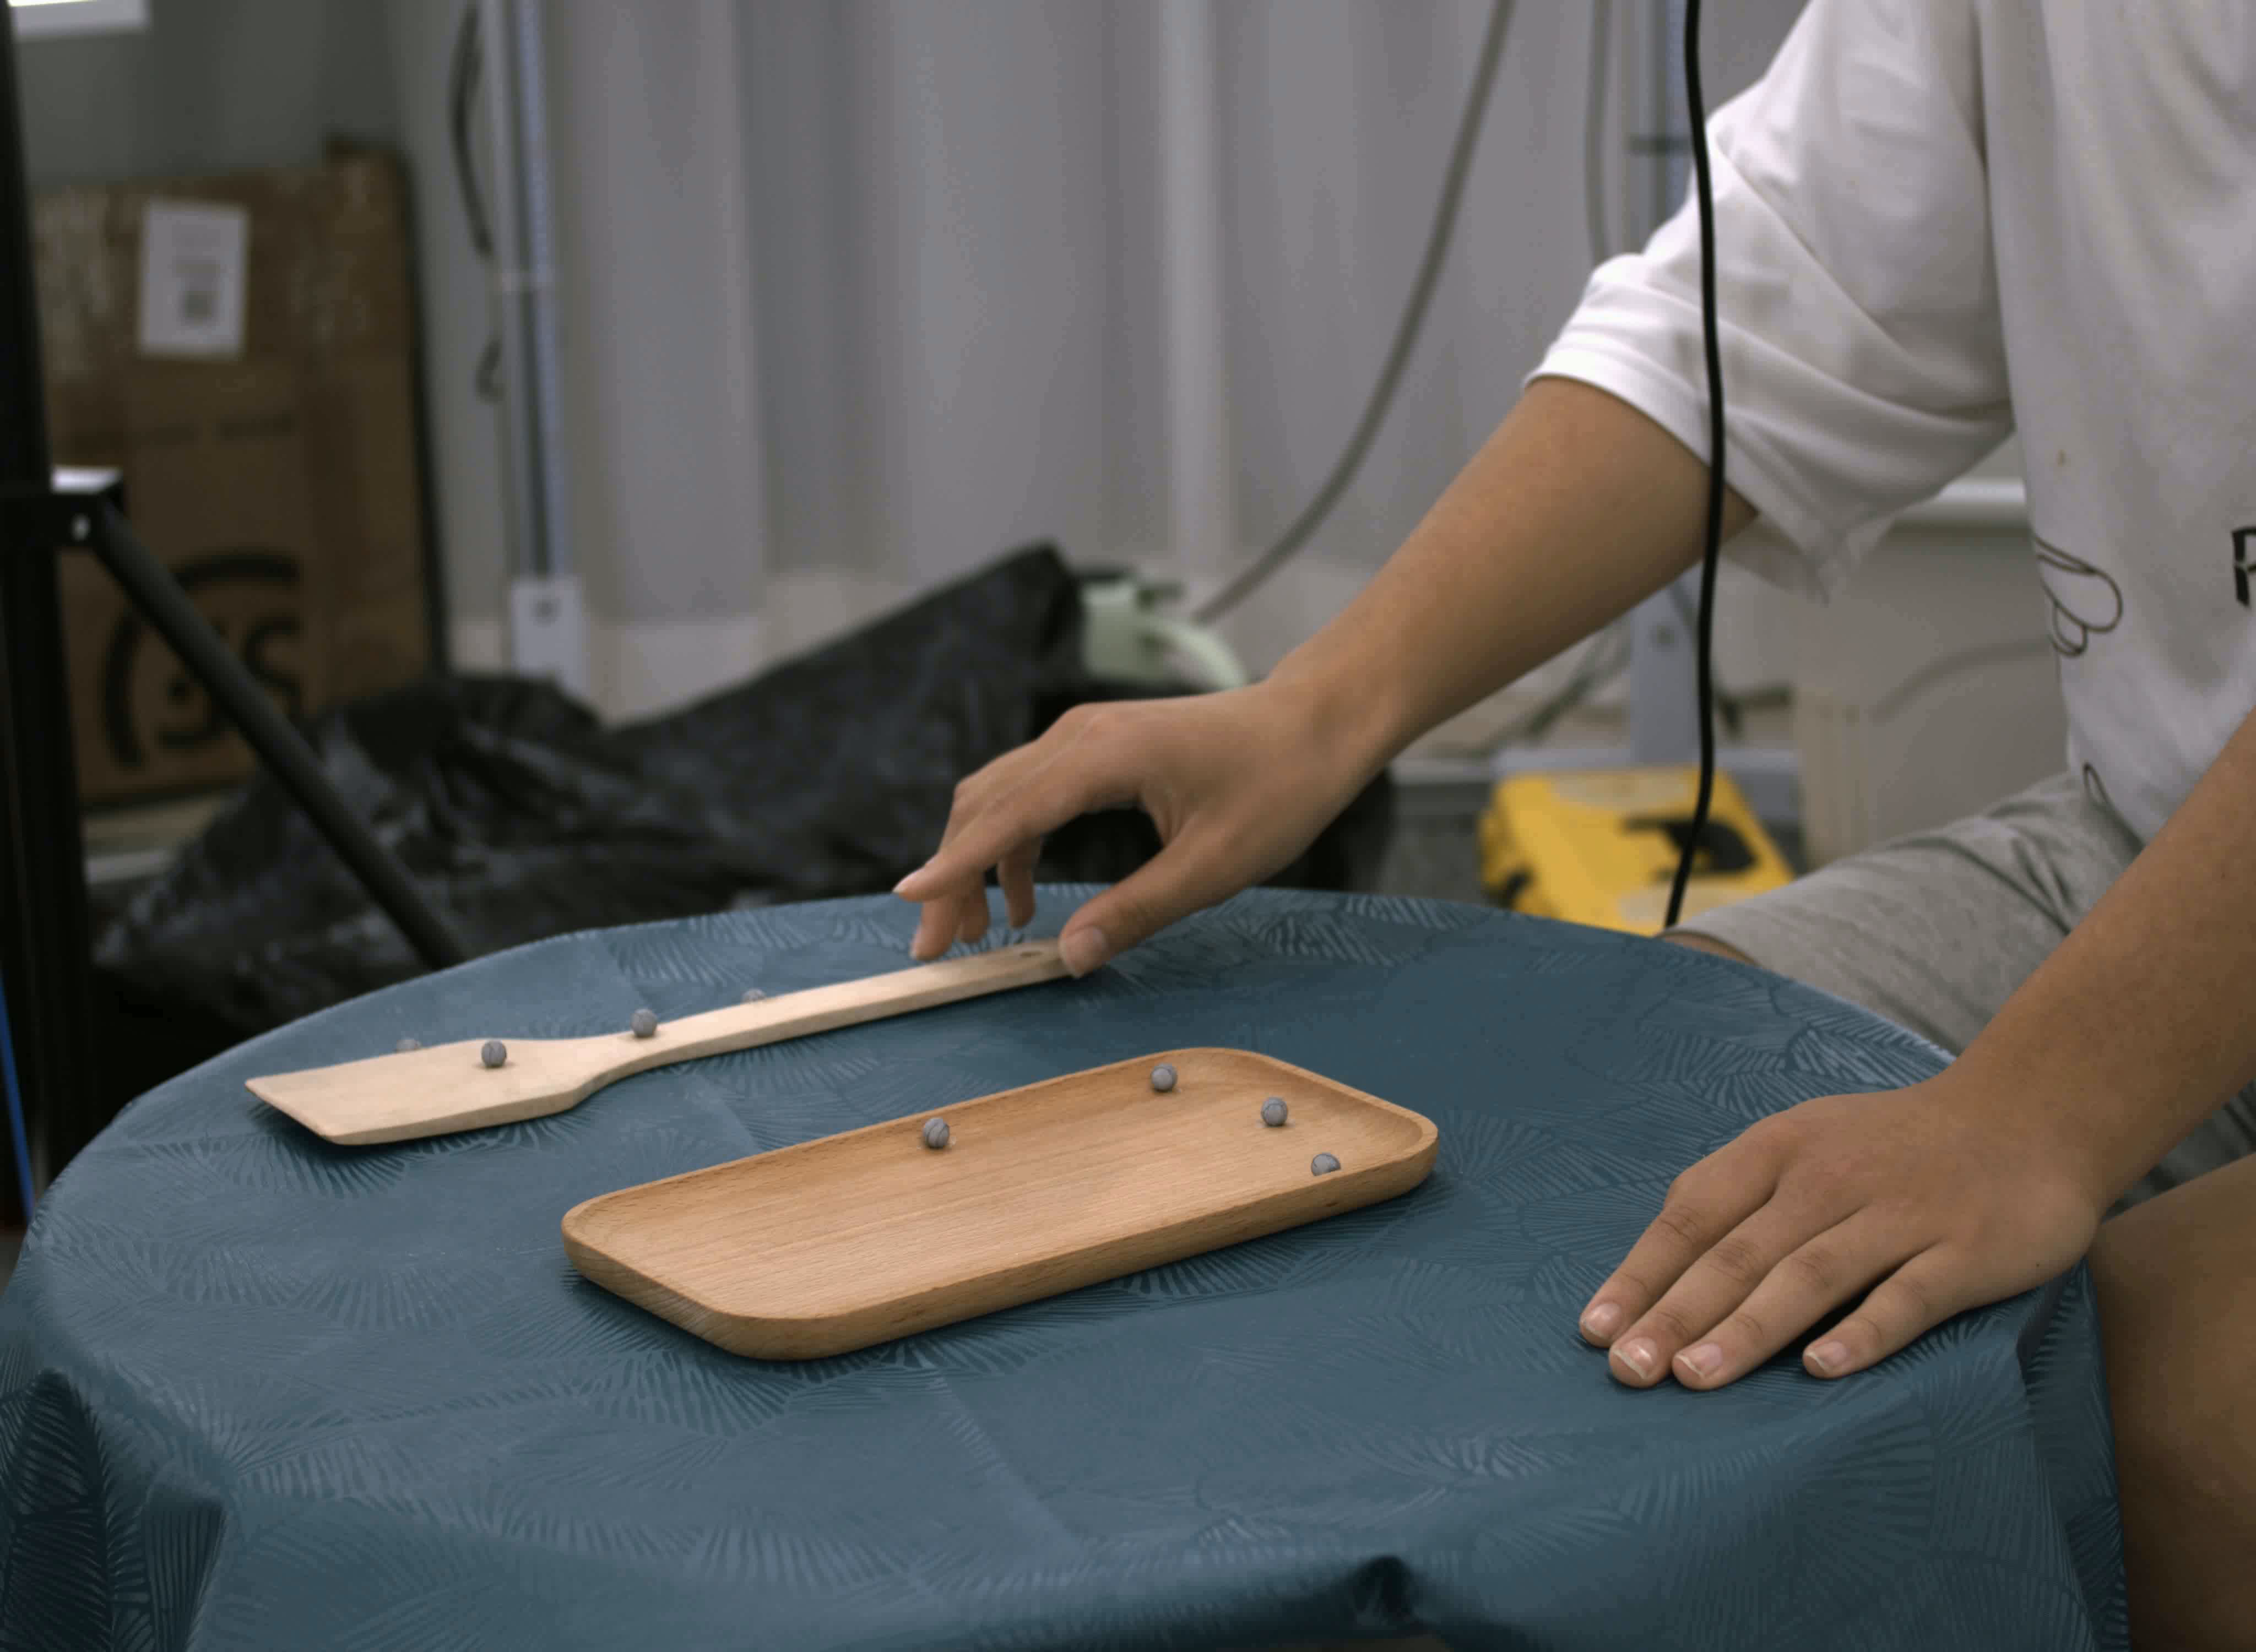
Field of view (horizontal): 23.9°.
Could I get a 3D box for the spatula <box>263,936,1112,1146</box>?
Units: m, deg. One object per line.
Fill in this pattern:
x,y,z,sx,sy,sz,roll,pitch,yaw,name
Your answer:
-0.132,0.066,1.711,0.286,0.010,0.074,-12,17,-28,spatula

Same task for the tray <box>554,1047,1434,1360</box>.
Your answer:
-0.036,0.107,1.538,0.245,0.023,0.133,-13,17,-32,tray
